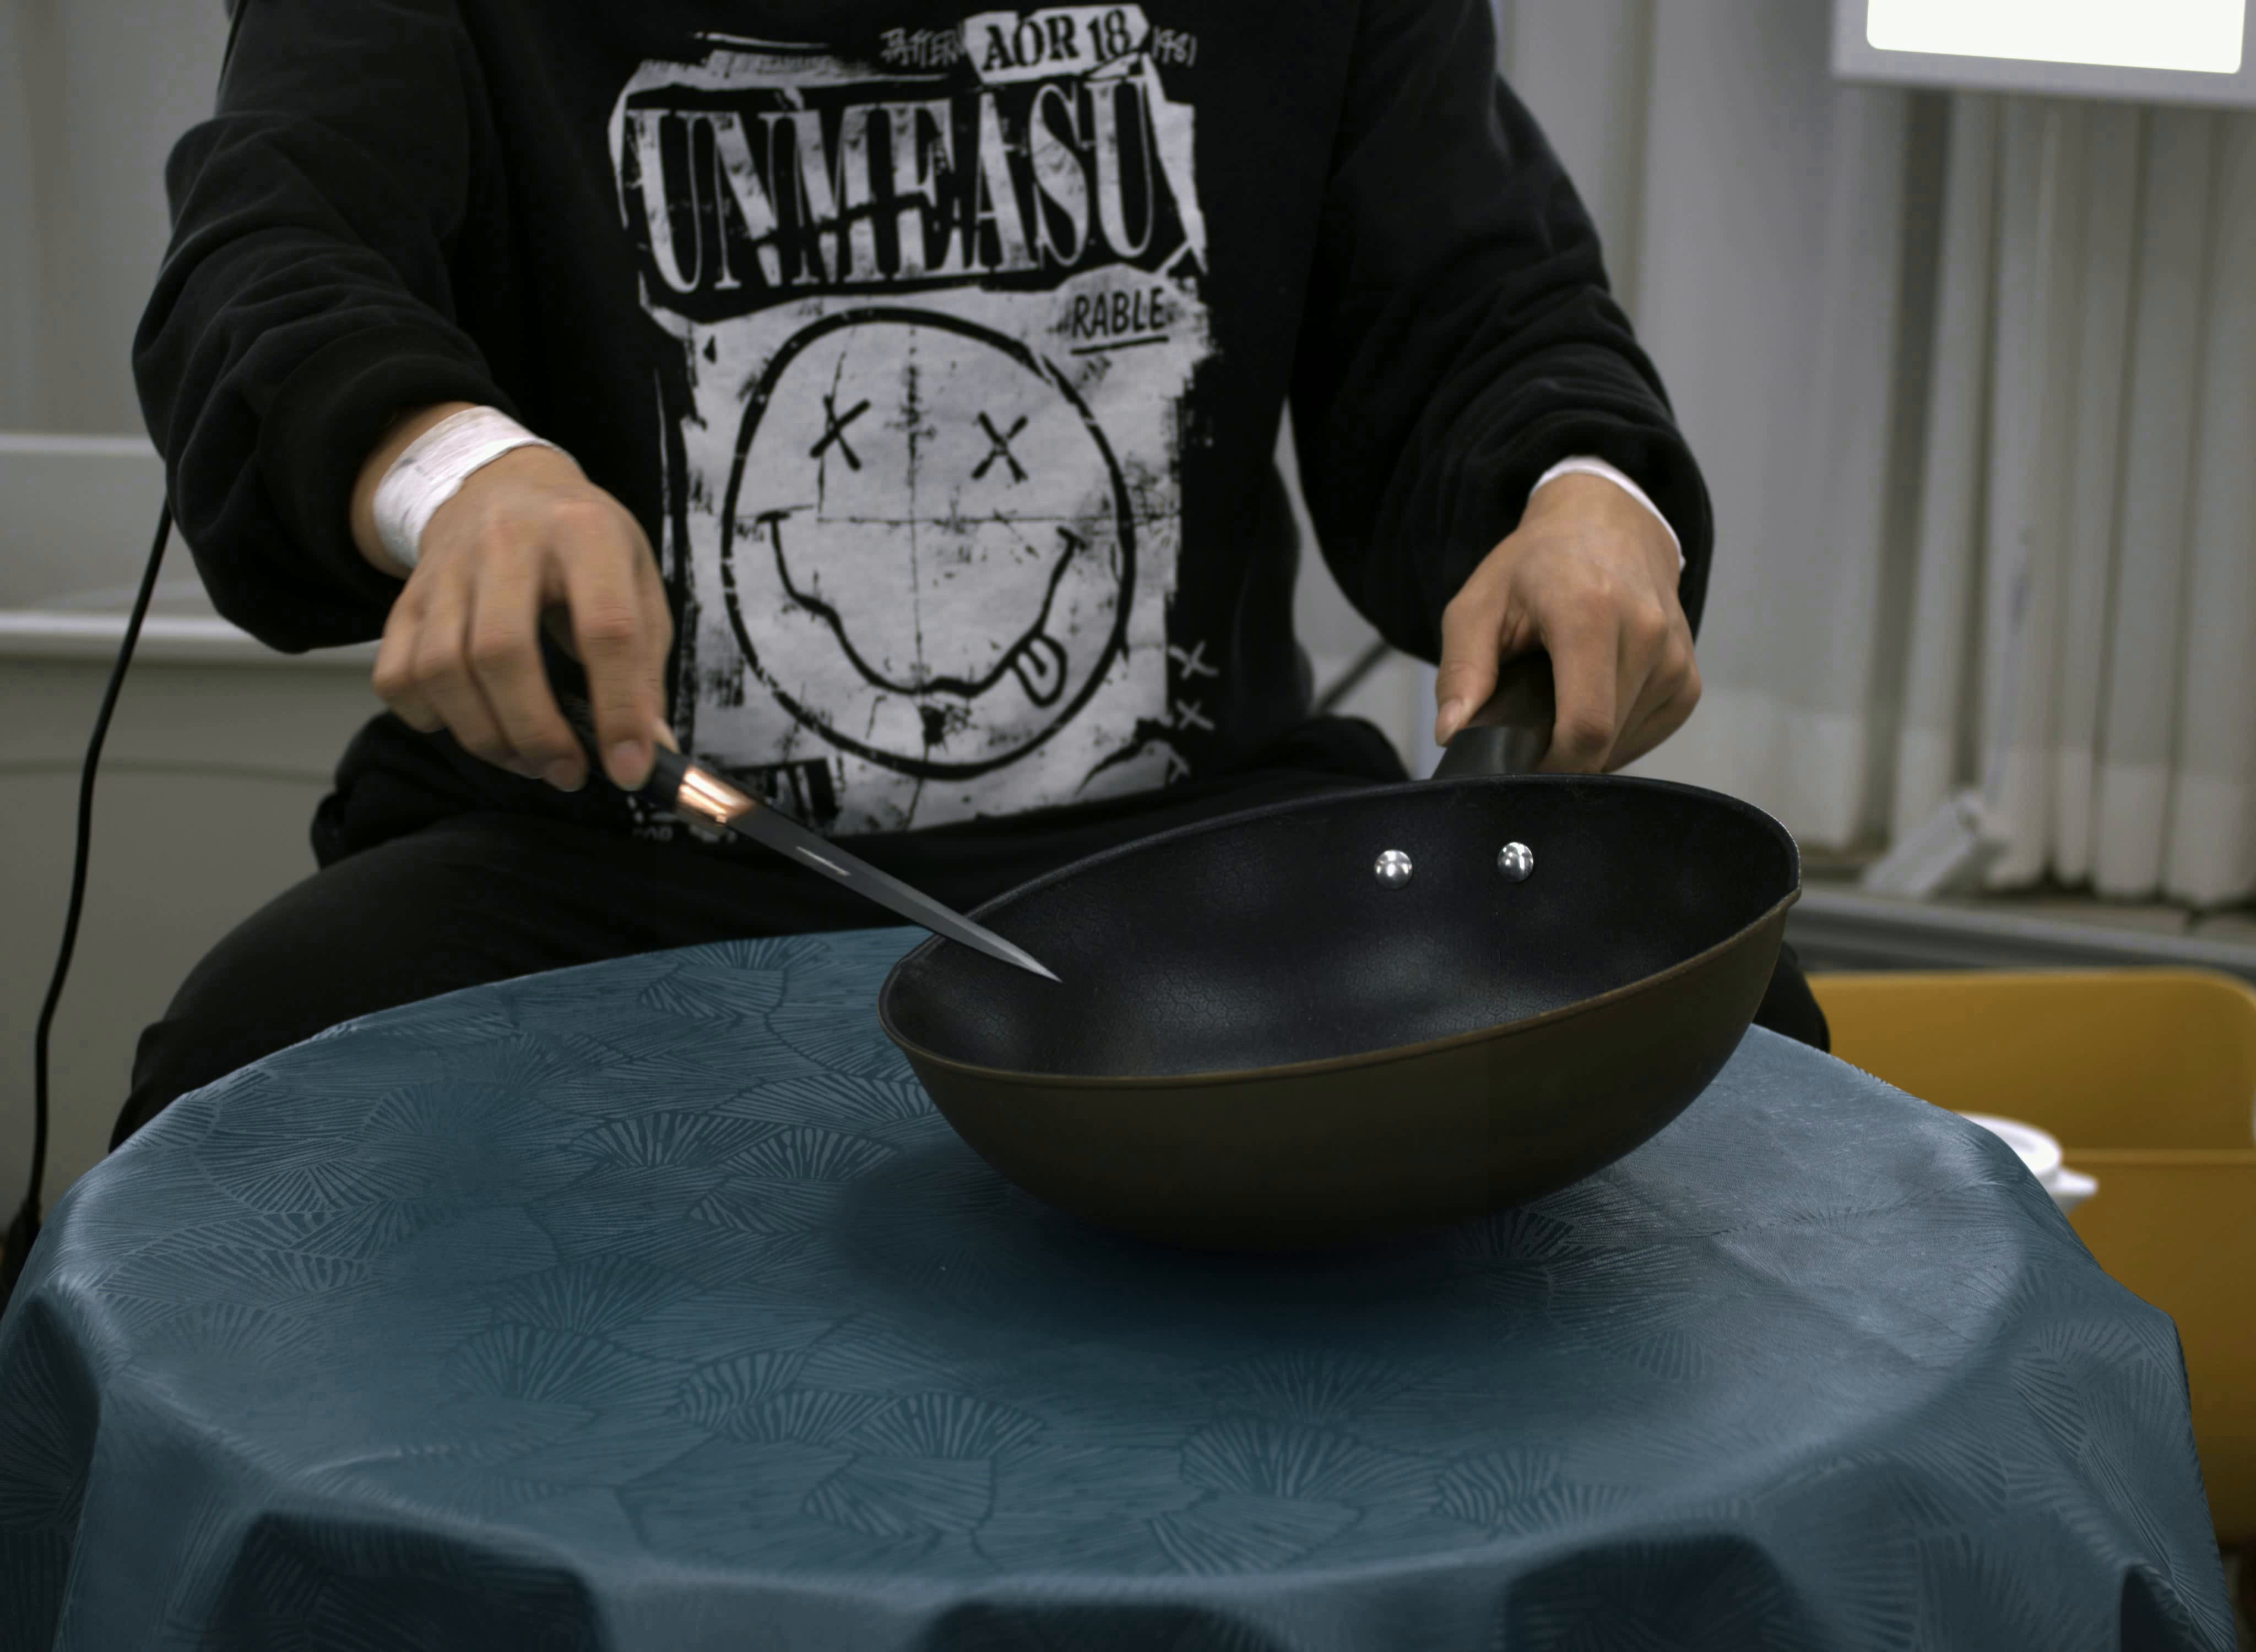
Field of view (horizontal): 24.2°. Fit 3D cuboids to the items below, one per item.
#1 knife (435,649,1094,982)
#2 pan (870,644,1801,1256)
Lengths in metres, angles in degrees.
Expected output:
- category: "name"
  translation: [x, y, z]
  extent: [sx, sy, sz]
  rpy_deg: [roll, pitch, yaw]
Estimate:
- category: "knife"
  translation: [-0.110, -0.002, 1.573]
  extent: [0.224, 0.017, 0.026]
  rpy_deg: [26, 17, 13]
- category: "pan"
  translation: [0.096, 0.038, 1.680]
  extent: [0.286, 0.087, 0.463]
  rpy_deg: [-4, 16, 20]
